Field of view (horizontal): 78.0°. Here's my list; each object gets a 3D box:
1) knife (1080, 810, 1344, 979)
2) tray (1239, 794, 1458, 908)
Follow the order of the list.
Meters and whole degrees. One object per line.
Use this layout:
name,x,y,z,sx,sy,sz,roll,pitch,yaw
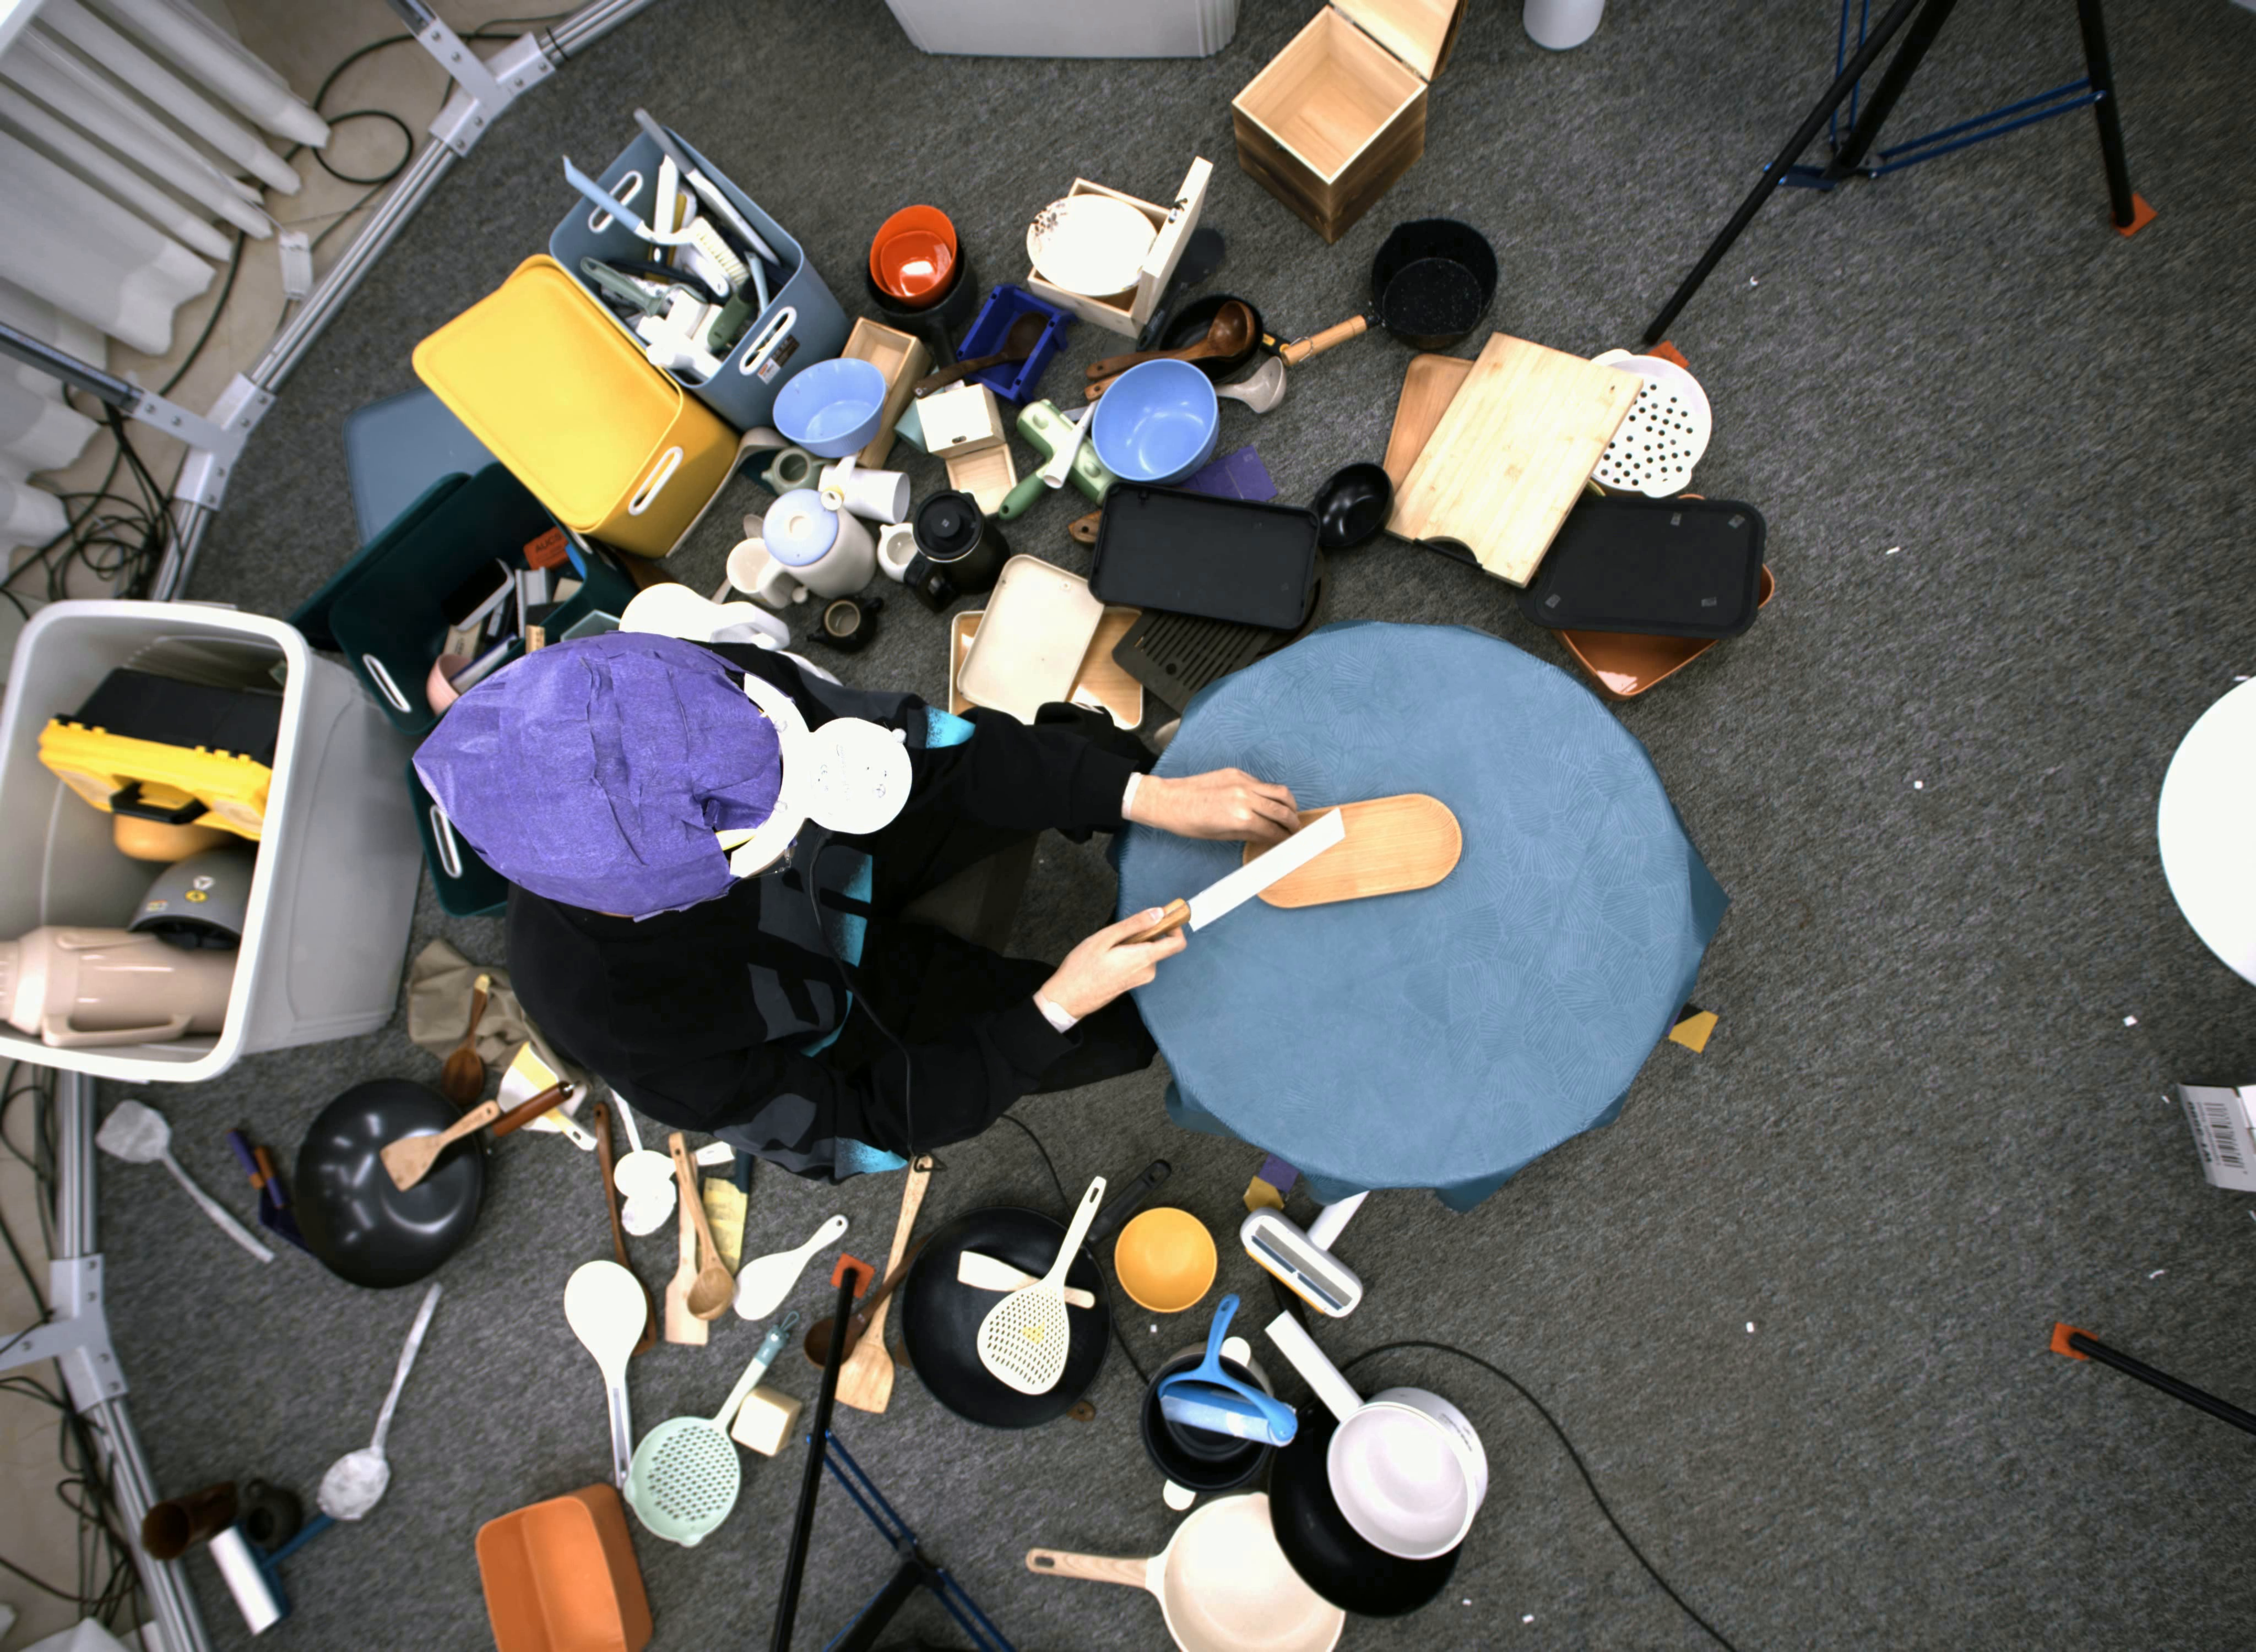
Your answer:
knife,0.091,0.075,1.425,0.306,0.094,0.021,-32,67,2
tray,0.232,0.026,1.461,0.232,0.020,0.101,-9,84,11
